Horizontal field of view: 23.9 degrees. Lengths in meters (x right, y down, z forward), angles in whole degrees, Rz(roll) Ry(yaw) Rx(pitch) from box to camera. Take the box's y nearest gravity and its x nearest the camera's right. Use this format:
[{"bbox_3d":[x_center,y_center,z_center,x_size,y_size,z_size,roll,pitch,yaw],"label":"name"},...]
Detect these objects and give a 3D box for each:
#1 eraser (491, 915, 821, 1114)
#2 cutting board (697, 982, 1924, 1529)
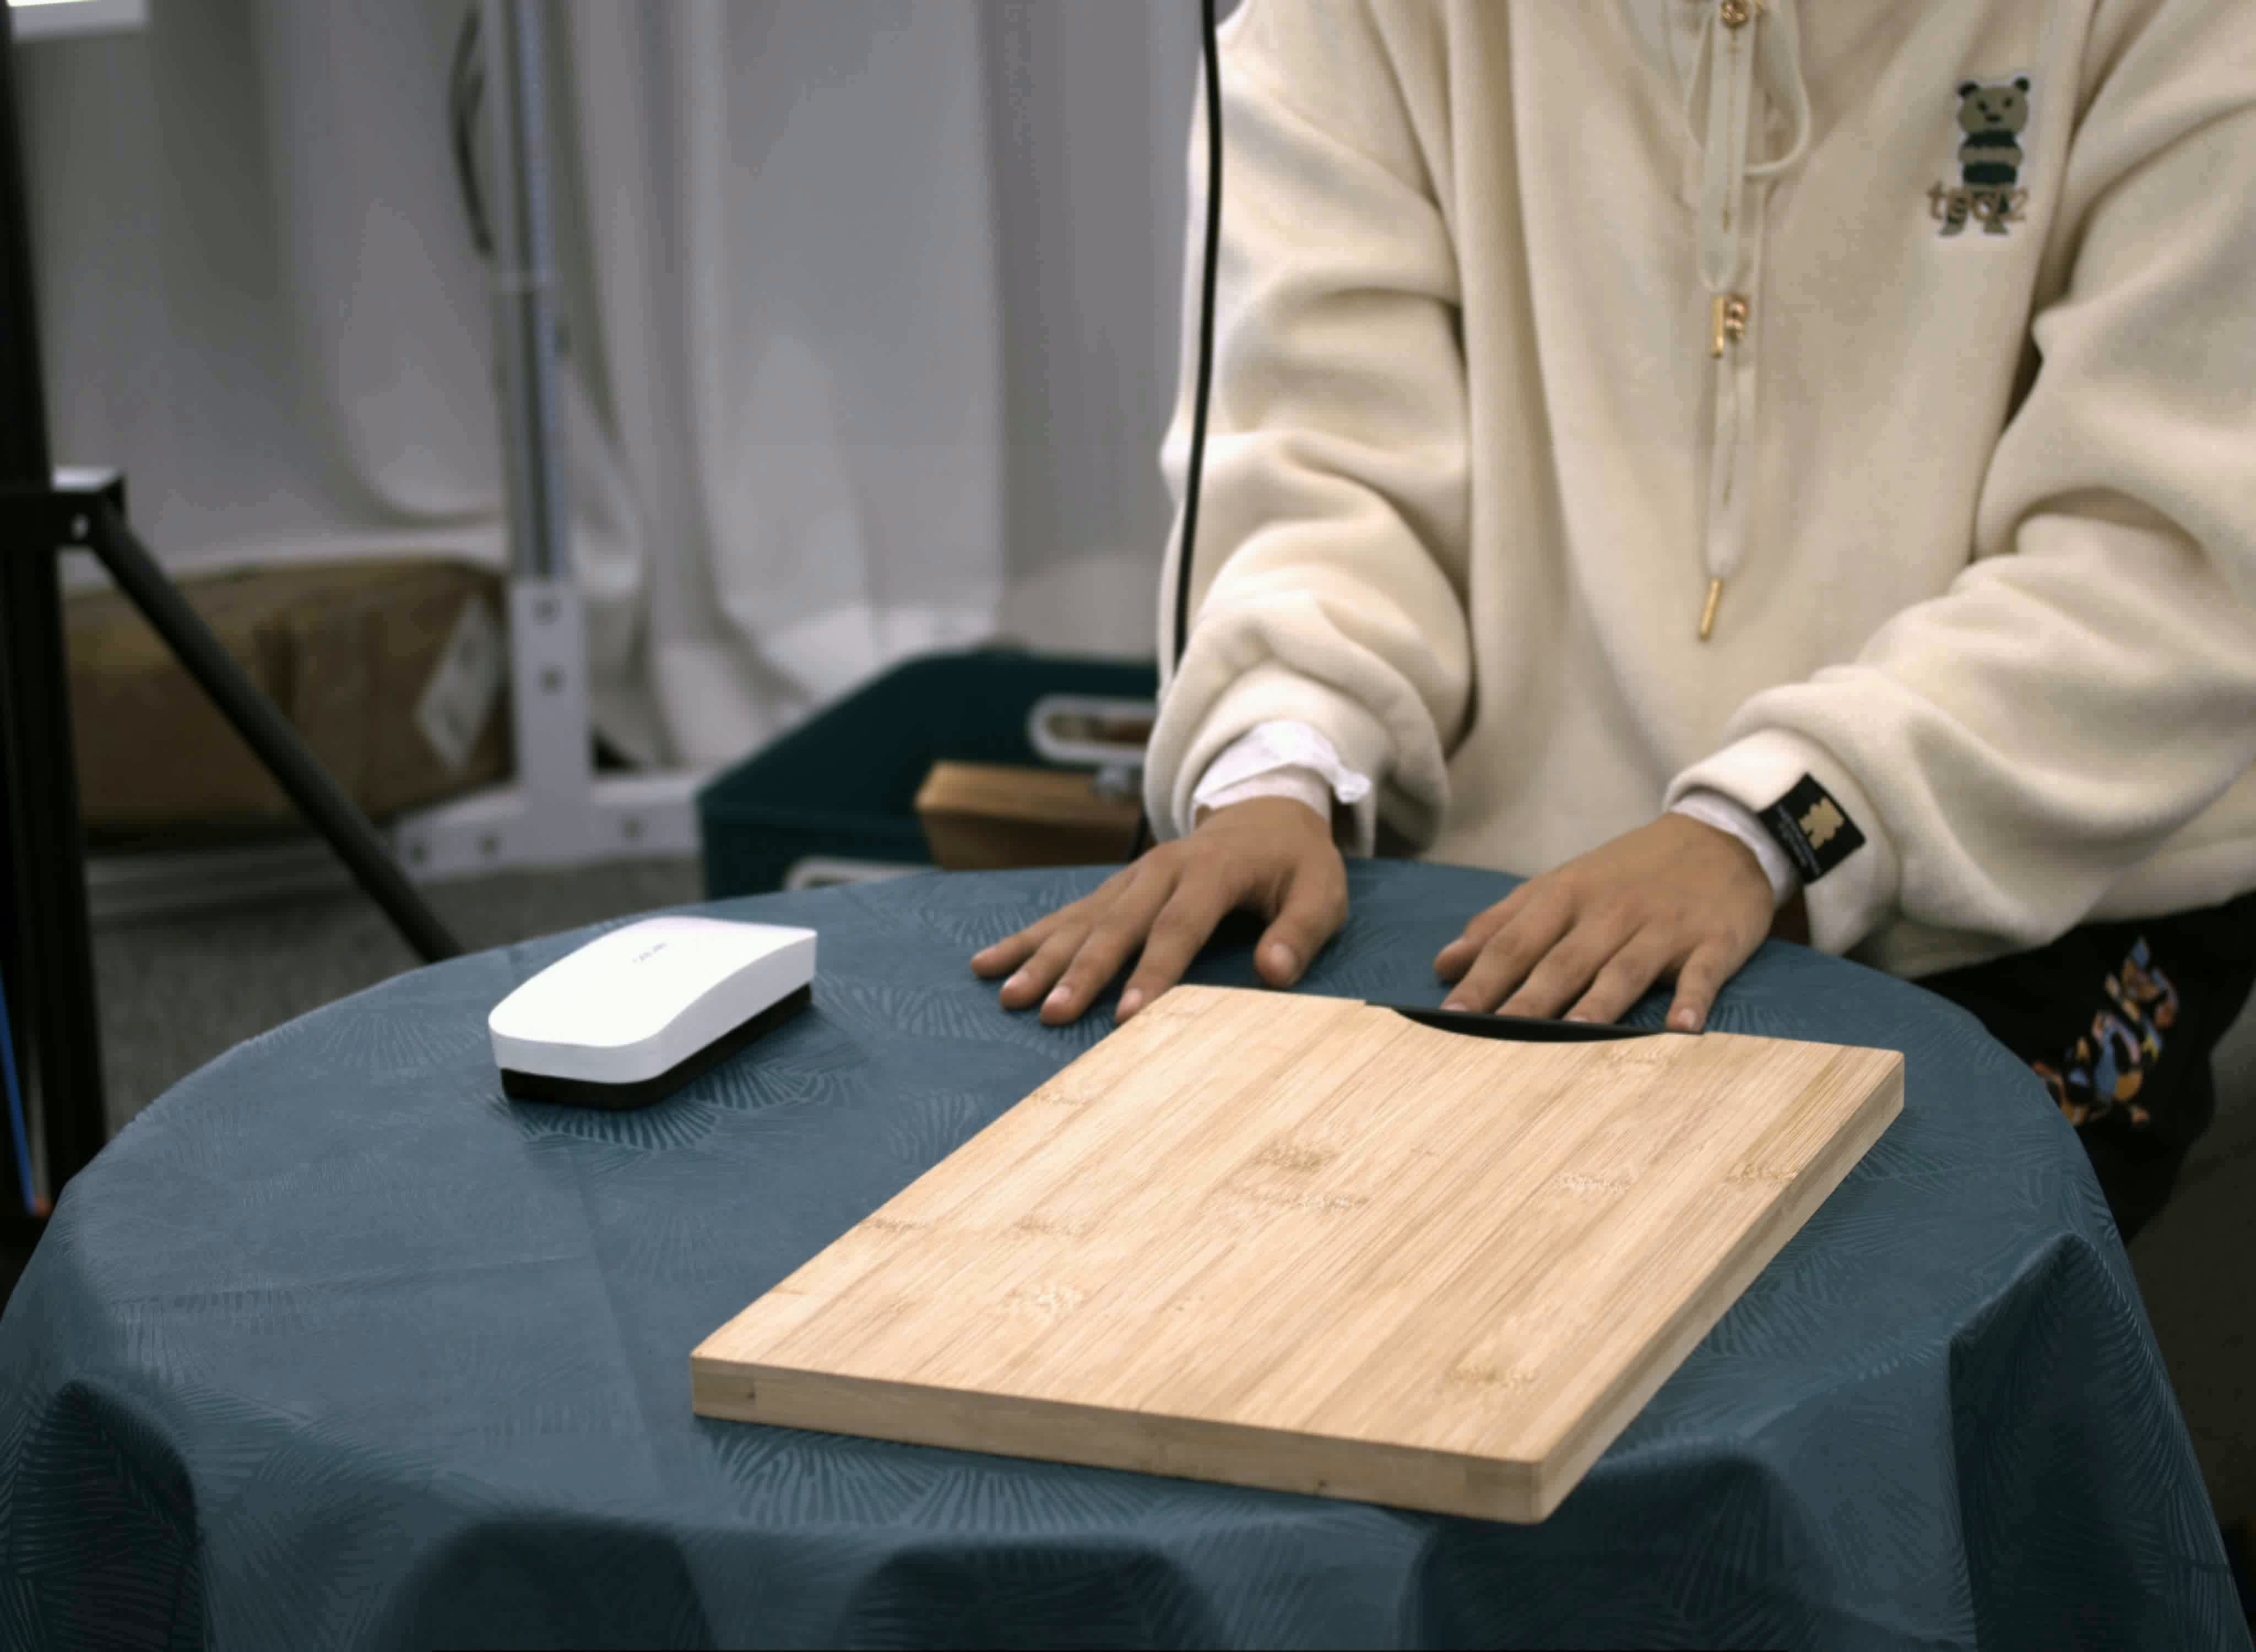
[{"bbox_3d":[-0.148,0.056,1.709,0.064,0.034,0.129,4,18,26],"label":"eraser"},{"bbox_3d":[0.062,0.112,1.504,0.254,0.023,0.344,4,17,23],"label":"cutting board"}]
